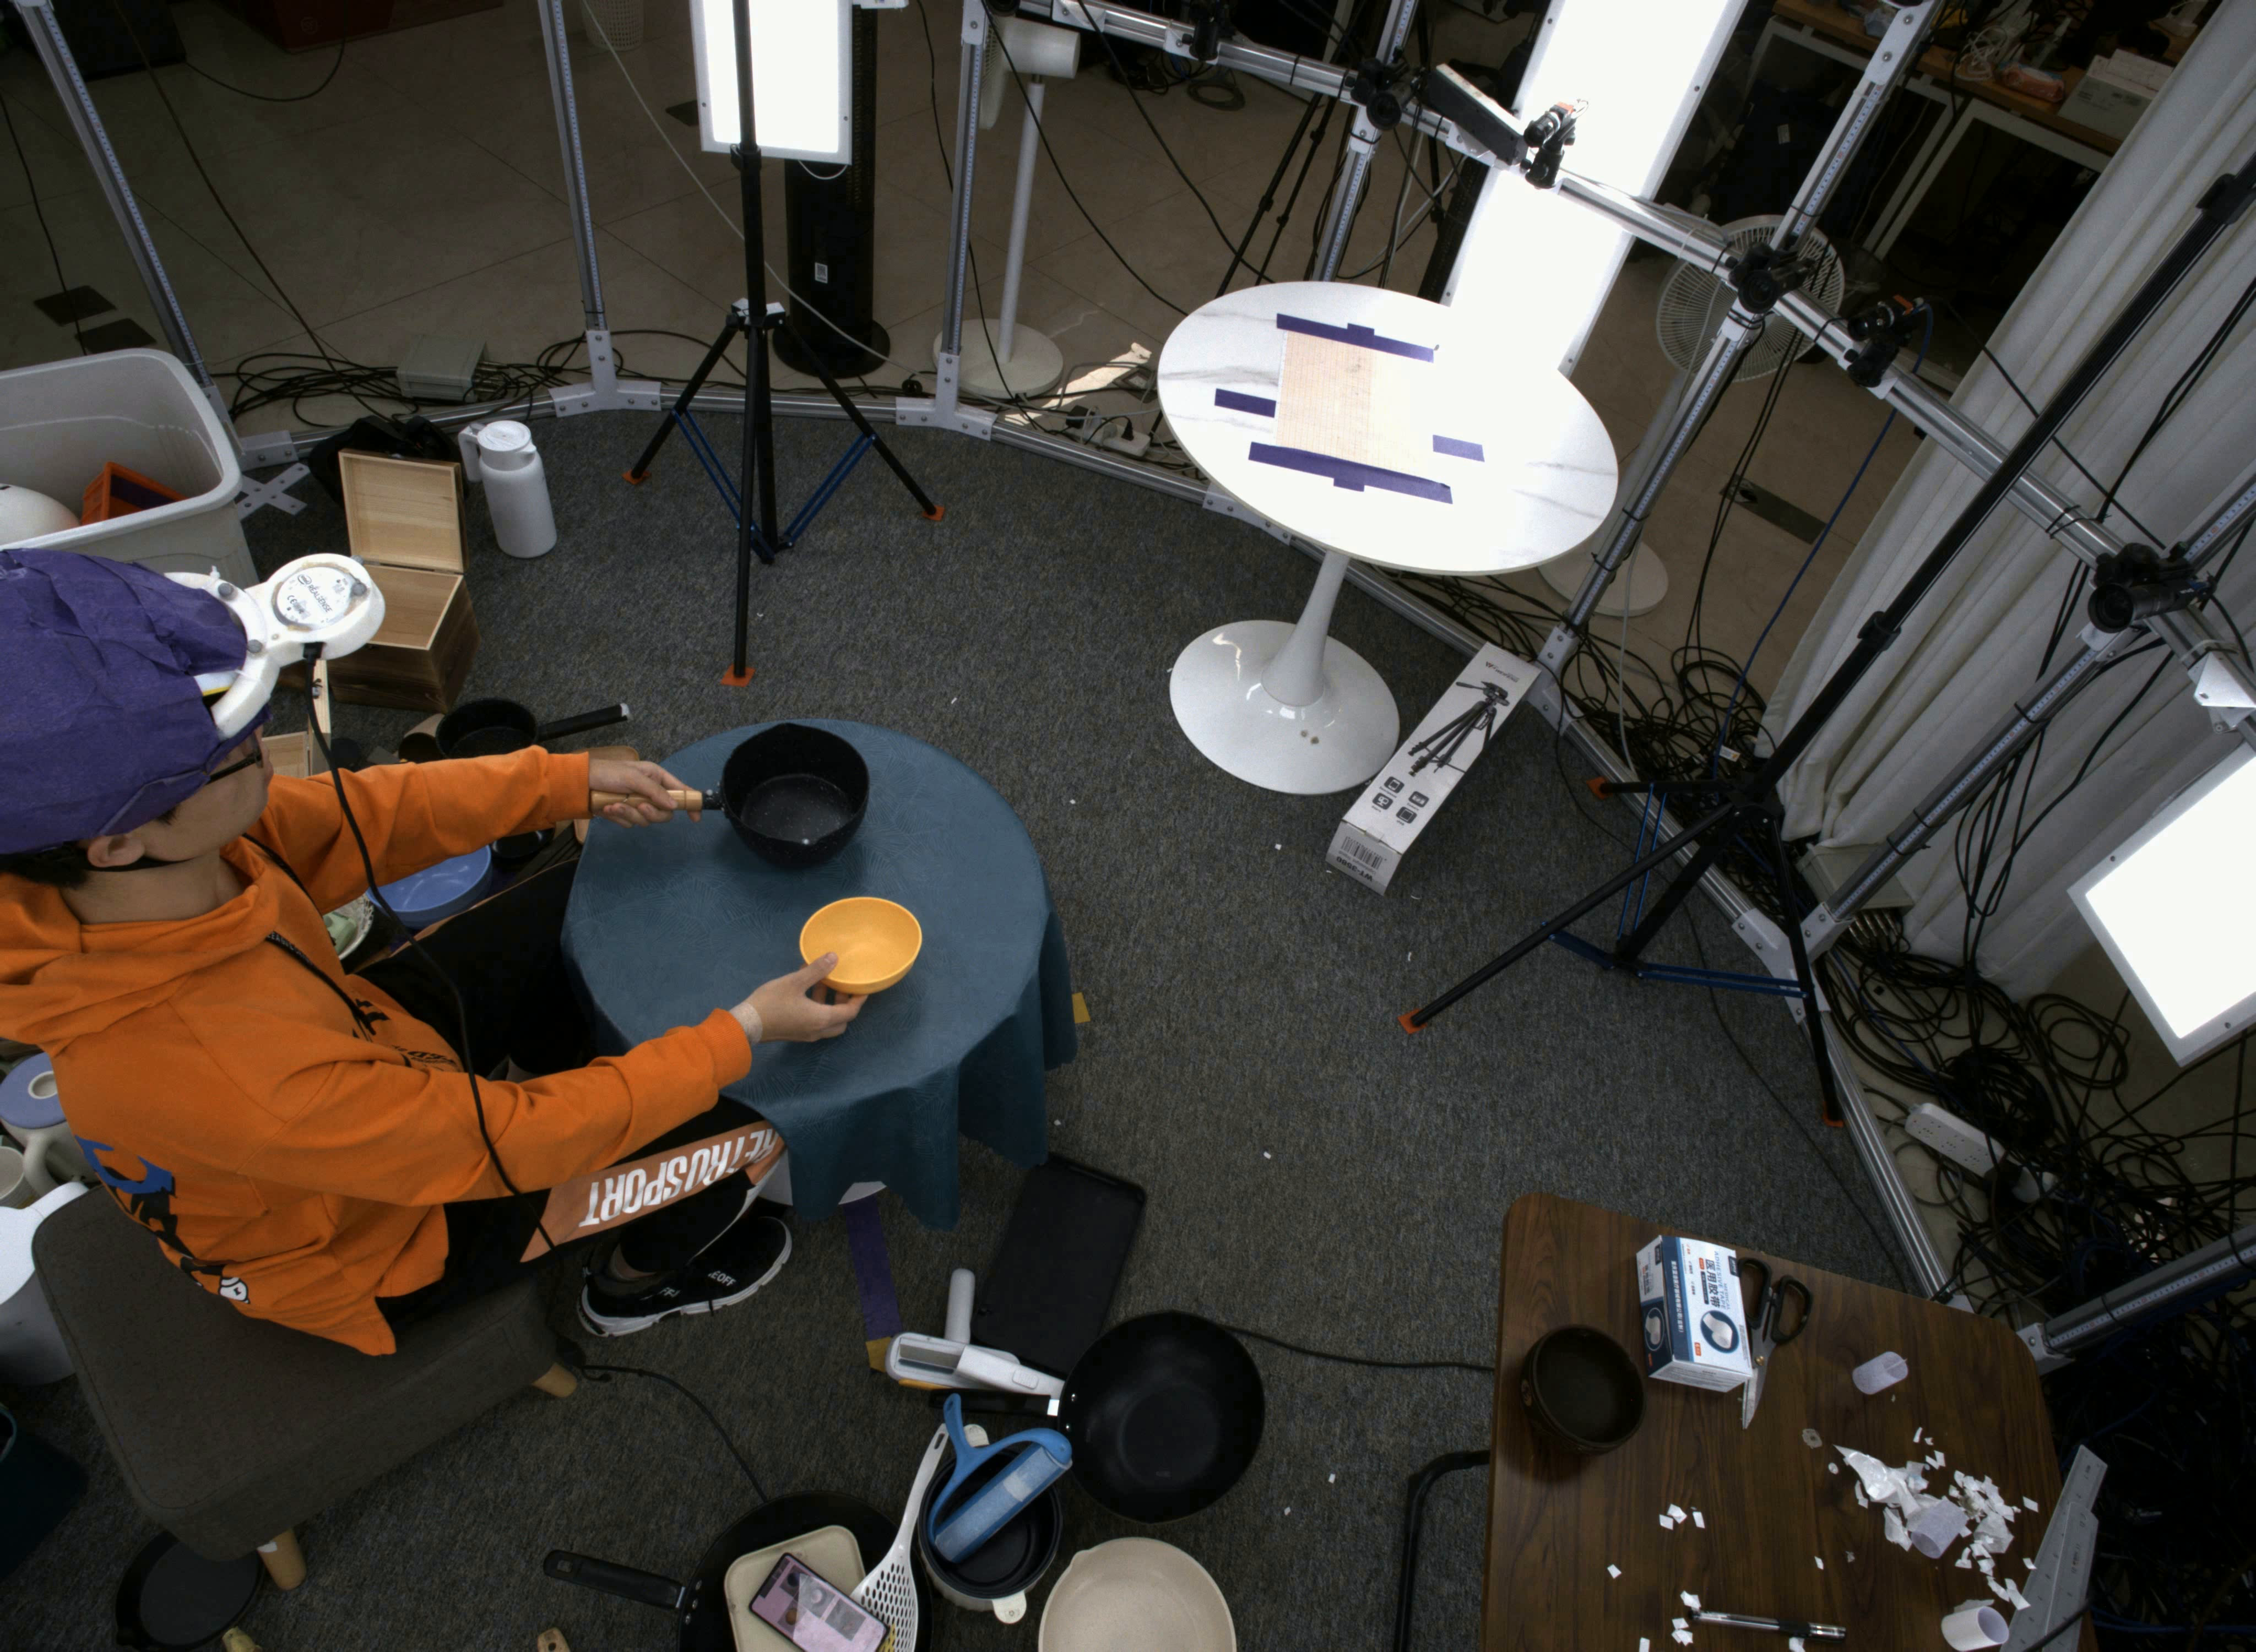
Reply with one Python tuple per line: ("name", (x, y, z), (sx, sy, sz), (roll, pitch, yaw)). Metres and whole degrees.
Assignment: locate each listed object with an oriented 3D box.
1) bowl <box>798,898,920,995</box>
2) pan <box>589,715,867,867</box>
("bowl", (-0.319, 0.153, 1.552), (0.144, 0.062, 0.142), (5, 39, -3))
("pan", (-0.499, -0.030, 1.620), (0.345, 0.110, 0.203), (-9, 59, -22))
